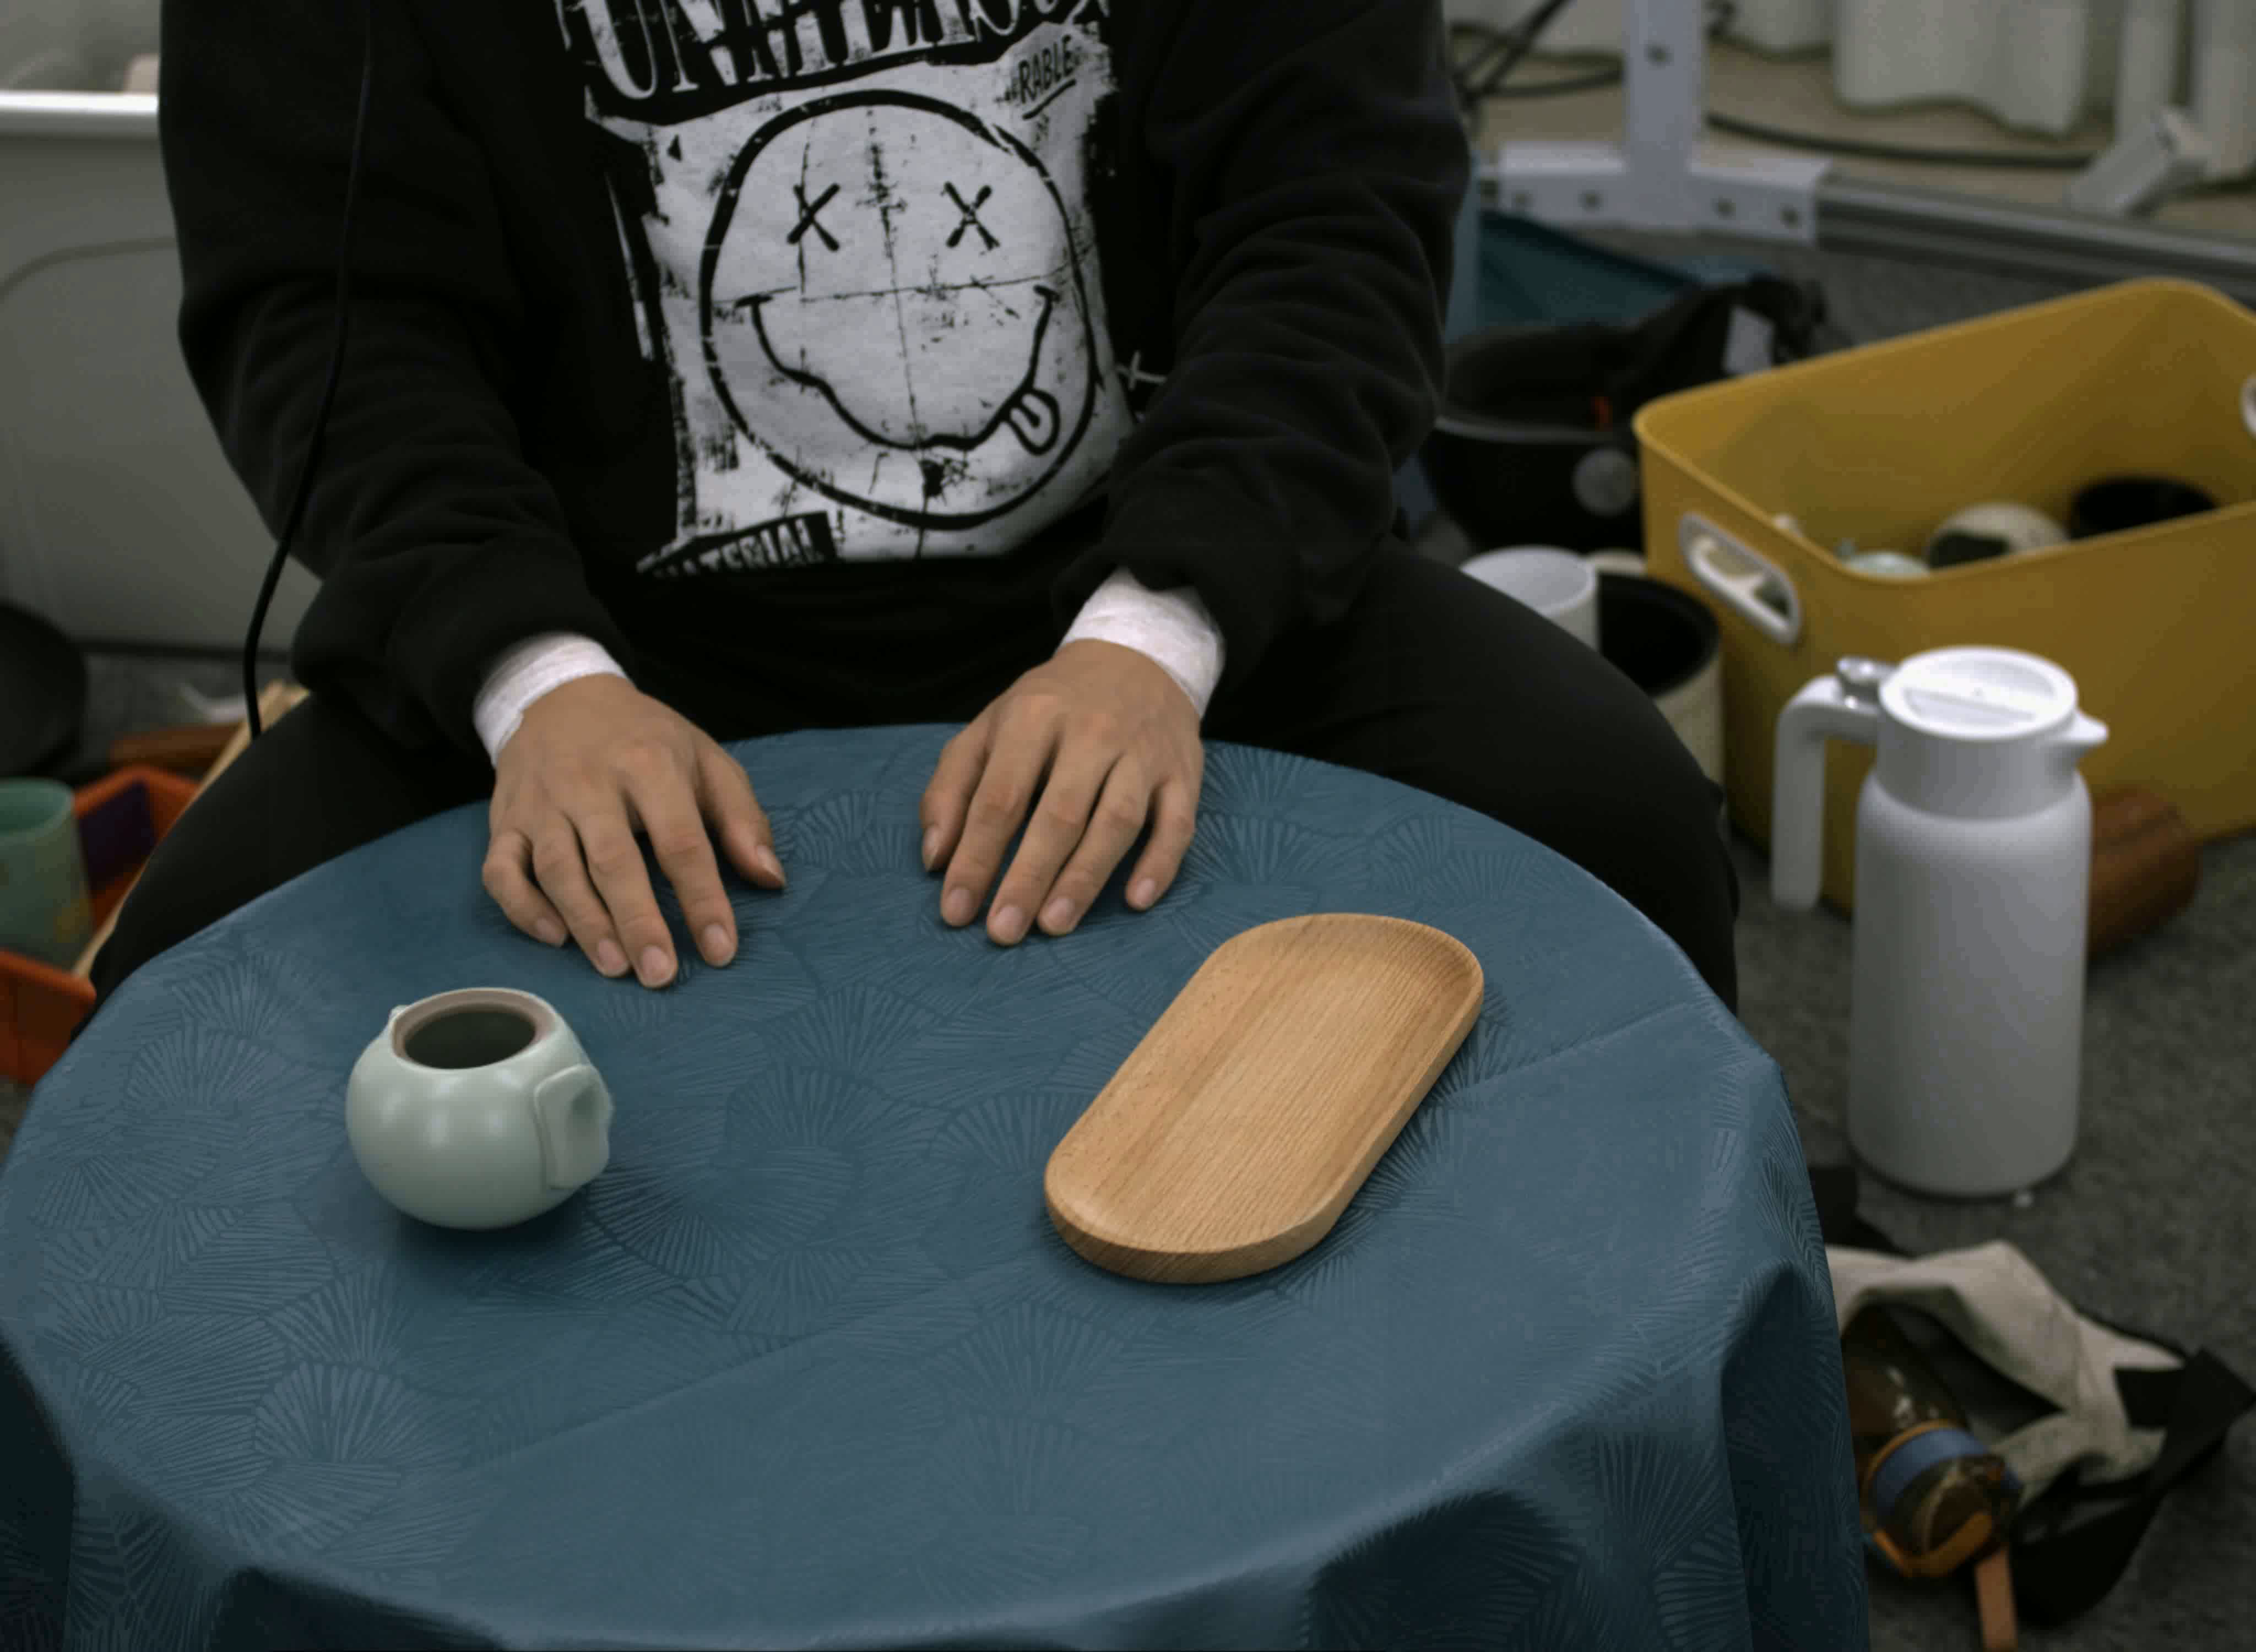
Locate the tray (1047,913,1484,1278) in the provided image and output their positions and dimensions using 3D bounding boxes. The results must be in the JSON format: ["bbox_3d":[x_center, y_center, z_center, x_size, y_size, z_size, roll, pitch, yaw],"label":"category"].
[{"bbox_3d":[0.048,0.089,1.901,0.101,0.020,0.235,10,28,20],"label":"tray"}]

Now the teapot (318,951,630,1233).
[{"bbox_3d":[-0.215,0.093,1.857,0.143,0.074,0.089,22,35,37],"label":"teapot"}]
